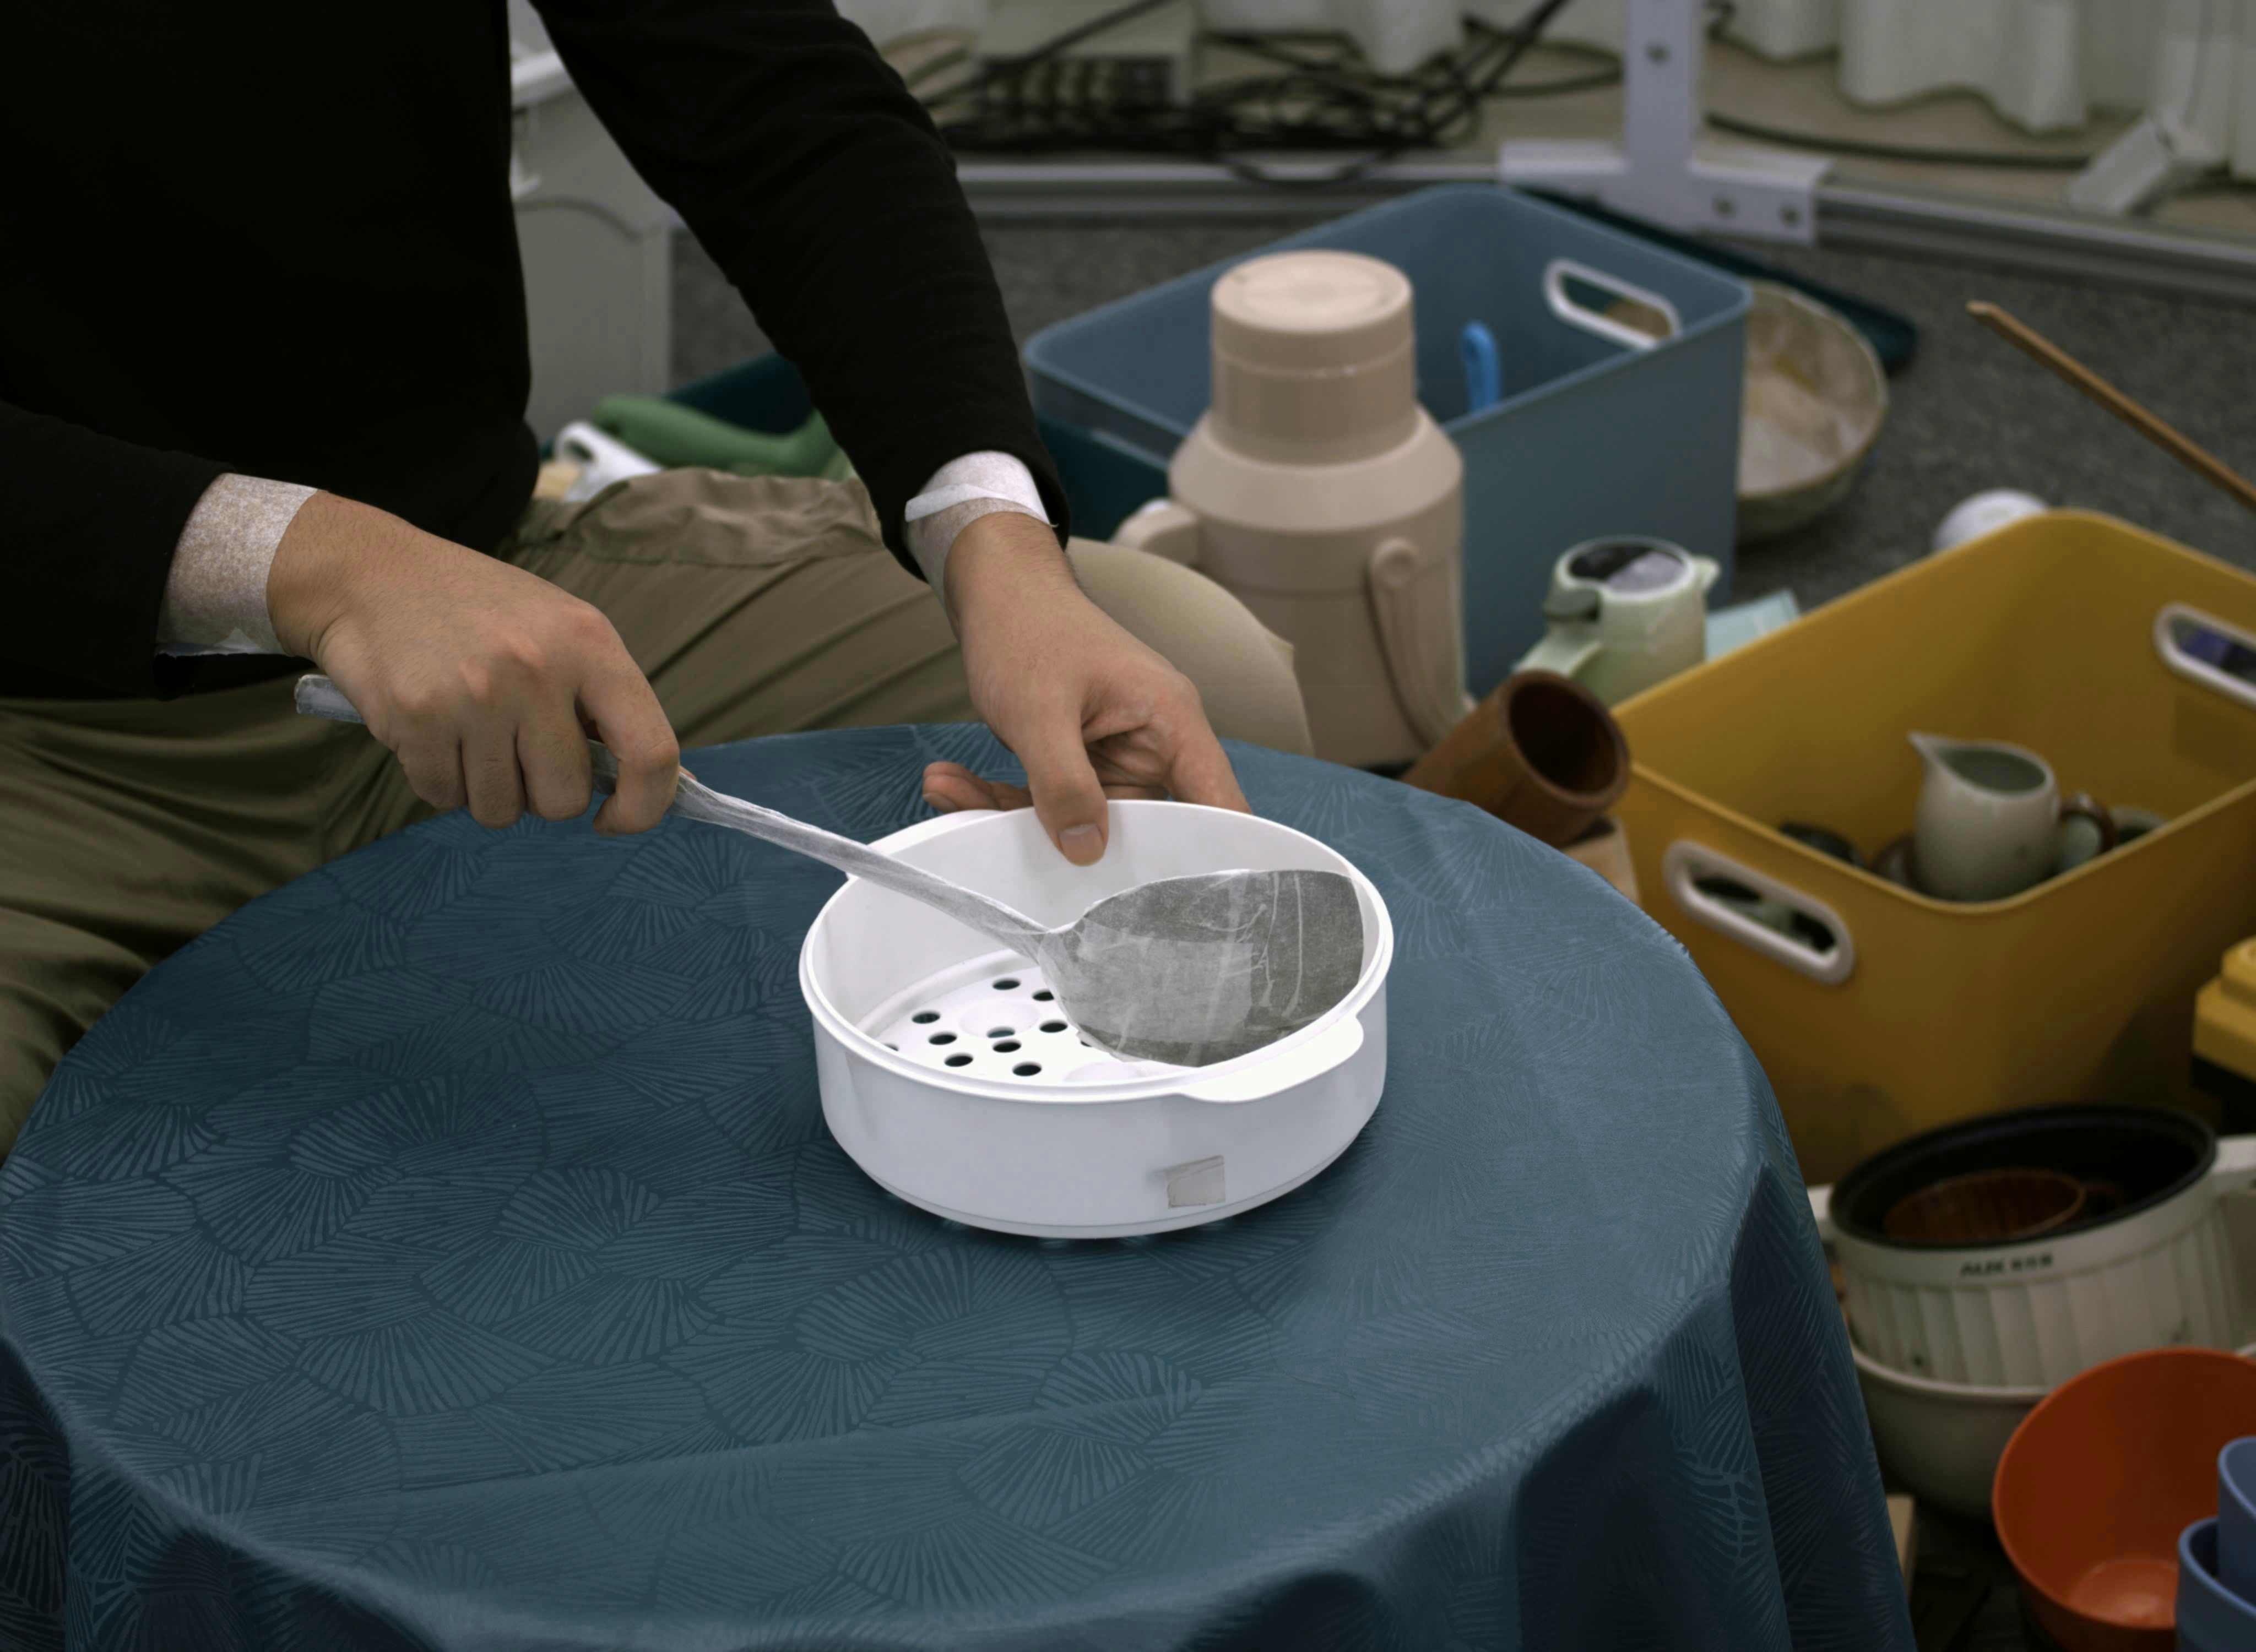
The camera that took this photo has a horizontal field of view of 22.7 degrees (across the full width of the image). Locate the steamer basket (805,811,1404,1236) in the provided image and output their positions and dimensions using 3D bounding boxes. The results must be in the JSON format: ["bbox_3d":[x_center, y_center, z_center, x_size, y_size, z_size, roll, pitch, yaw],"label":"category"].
[{"bbox_3d":[-0.007,0.067,1.892,0.203,0.068,0.231,-20,30,-31],"label":"steamer basket"}]

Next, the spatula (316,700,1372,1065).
[{"bbox_3d":[-0.097,0.007,1.892,0.363,0.097,0.045,19,45,7],"label":"spatula"}]
